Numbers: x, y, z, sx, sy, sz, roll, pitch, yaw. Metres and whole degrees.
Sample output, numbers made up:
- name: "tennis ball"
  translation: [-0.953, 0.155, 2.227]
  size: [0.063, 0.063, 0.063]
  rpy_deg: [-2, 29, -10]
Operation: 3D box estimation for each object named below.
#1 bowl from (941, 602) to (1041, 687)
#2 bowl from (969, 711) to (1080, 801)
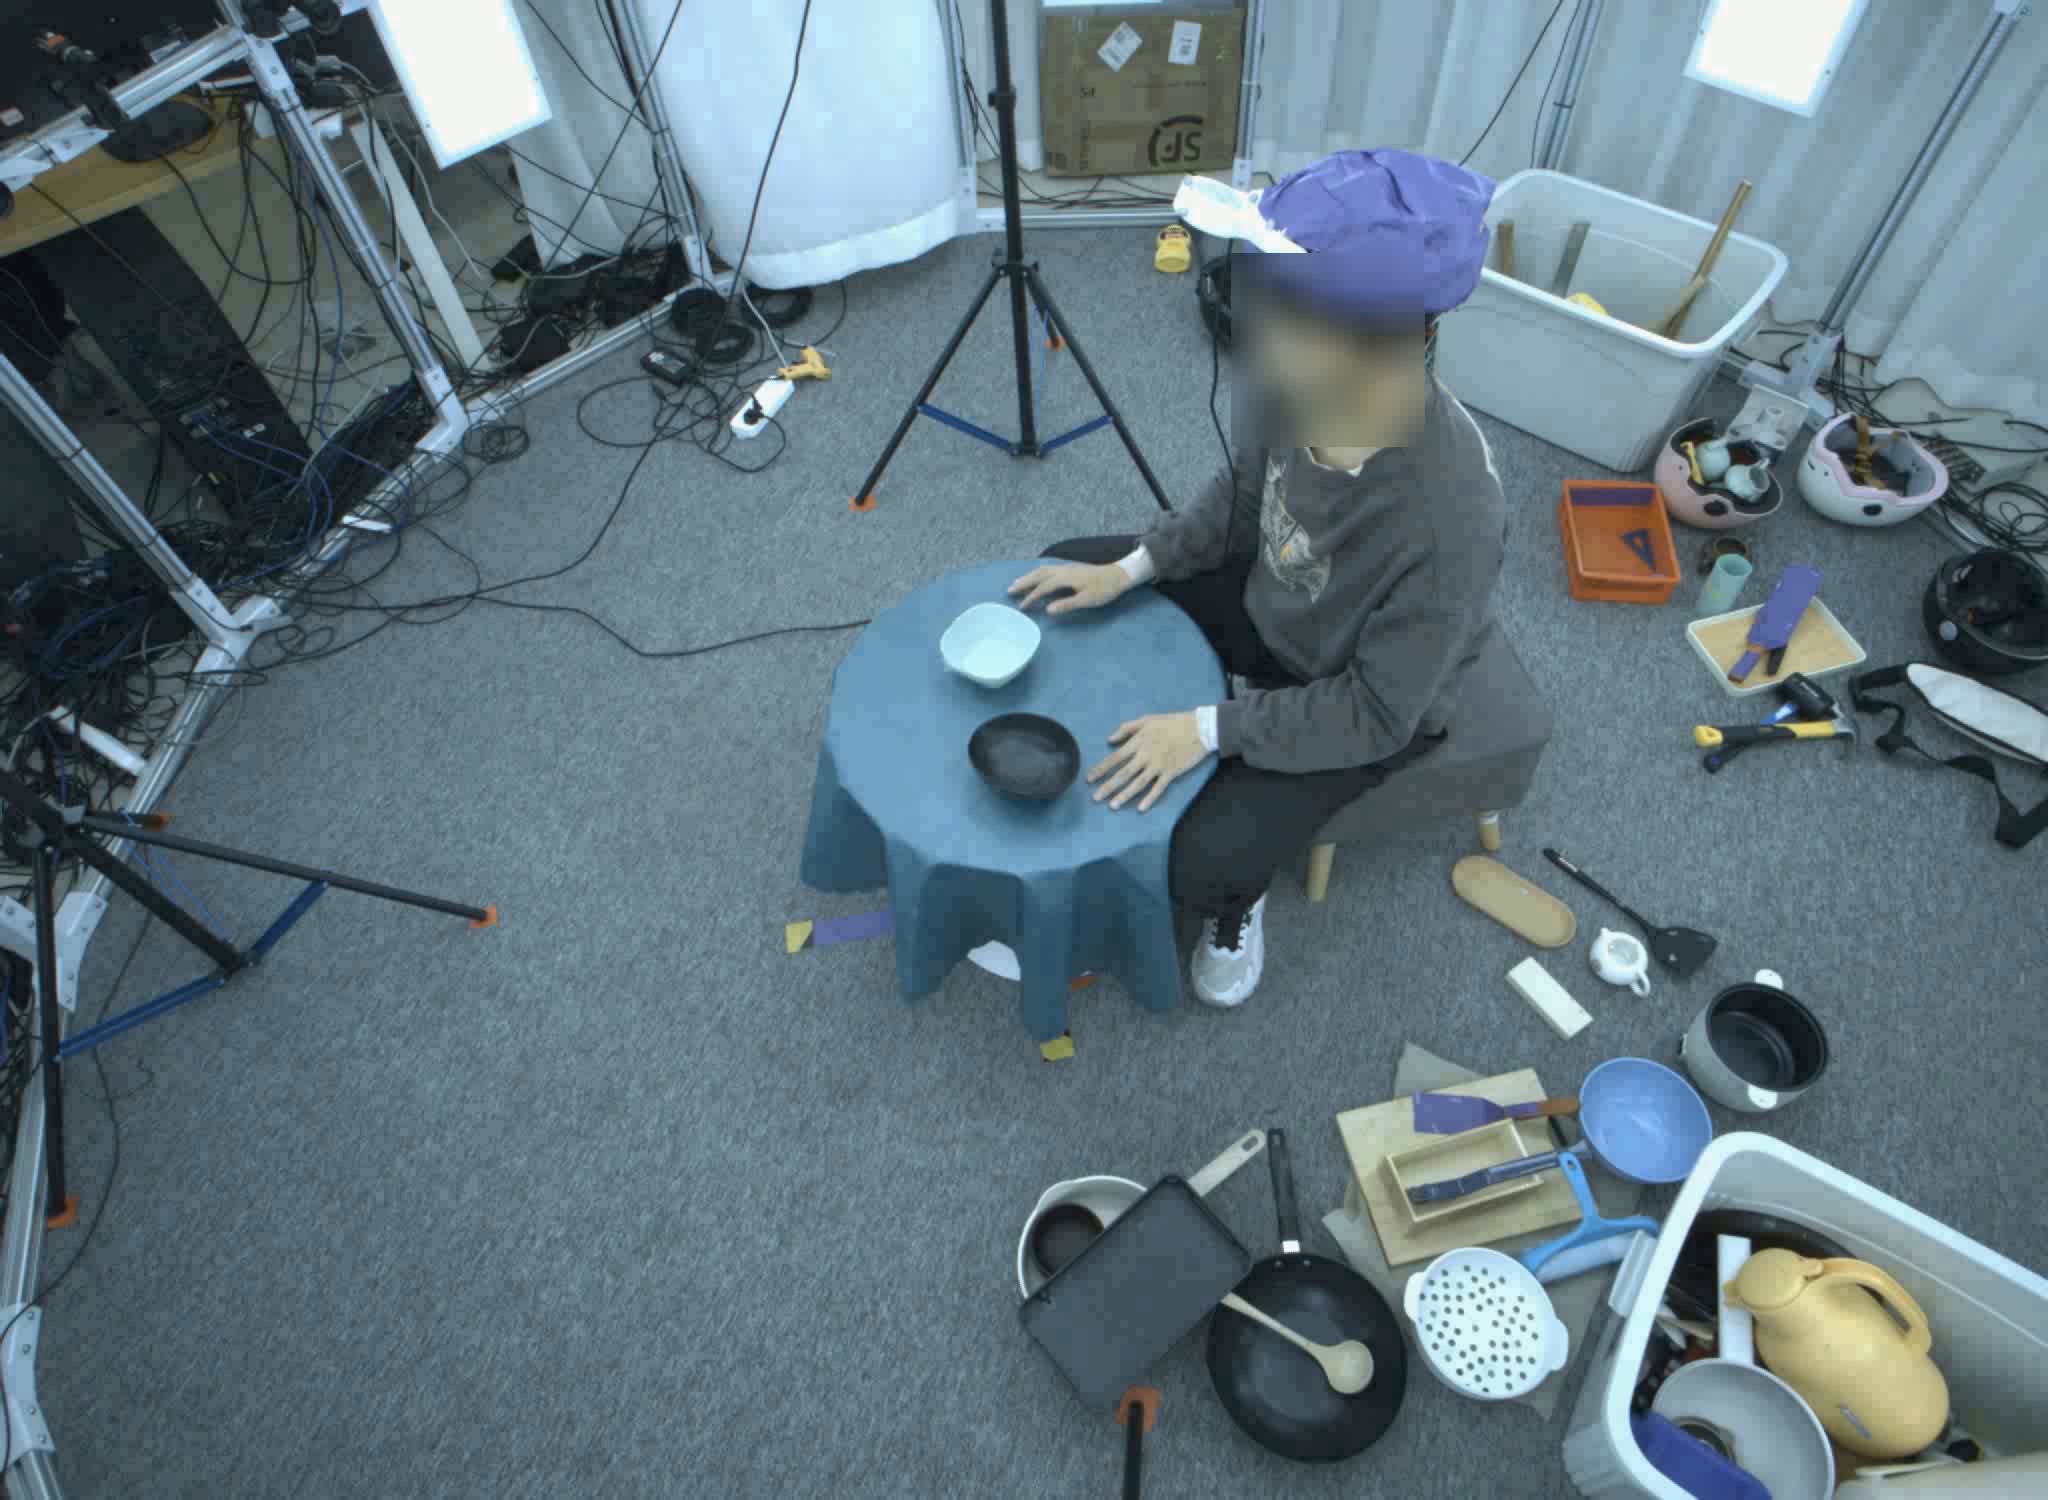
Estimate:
- name: "bowl"
  translation: [-0.048, -0.150, 1.859]
  size: [0.151, 0.059, 0.150]
  rpy_deg: [-2, 56, 3]
- name: "bowl"
  translation: [0.000, 0.019, 1.732]
  size: [0.167, 0.067, 0.138]
  rpy_deg: [26, 59, 21]
